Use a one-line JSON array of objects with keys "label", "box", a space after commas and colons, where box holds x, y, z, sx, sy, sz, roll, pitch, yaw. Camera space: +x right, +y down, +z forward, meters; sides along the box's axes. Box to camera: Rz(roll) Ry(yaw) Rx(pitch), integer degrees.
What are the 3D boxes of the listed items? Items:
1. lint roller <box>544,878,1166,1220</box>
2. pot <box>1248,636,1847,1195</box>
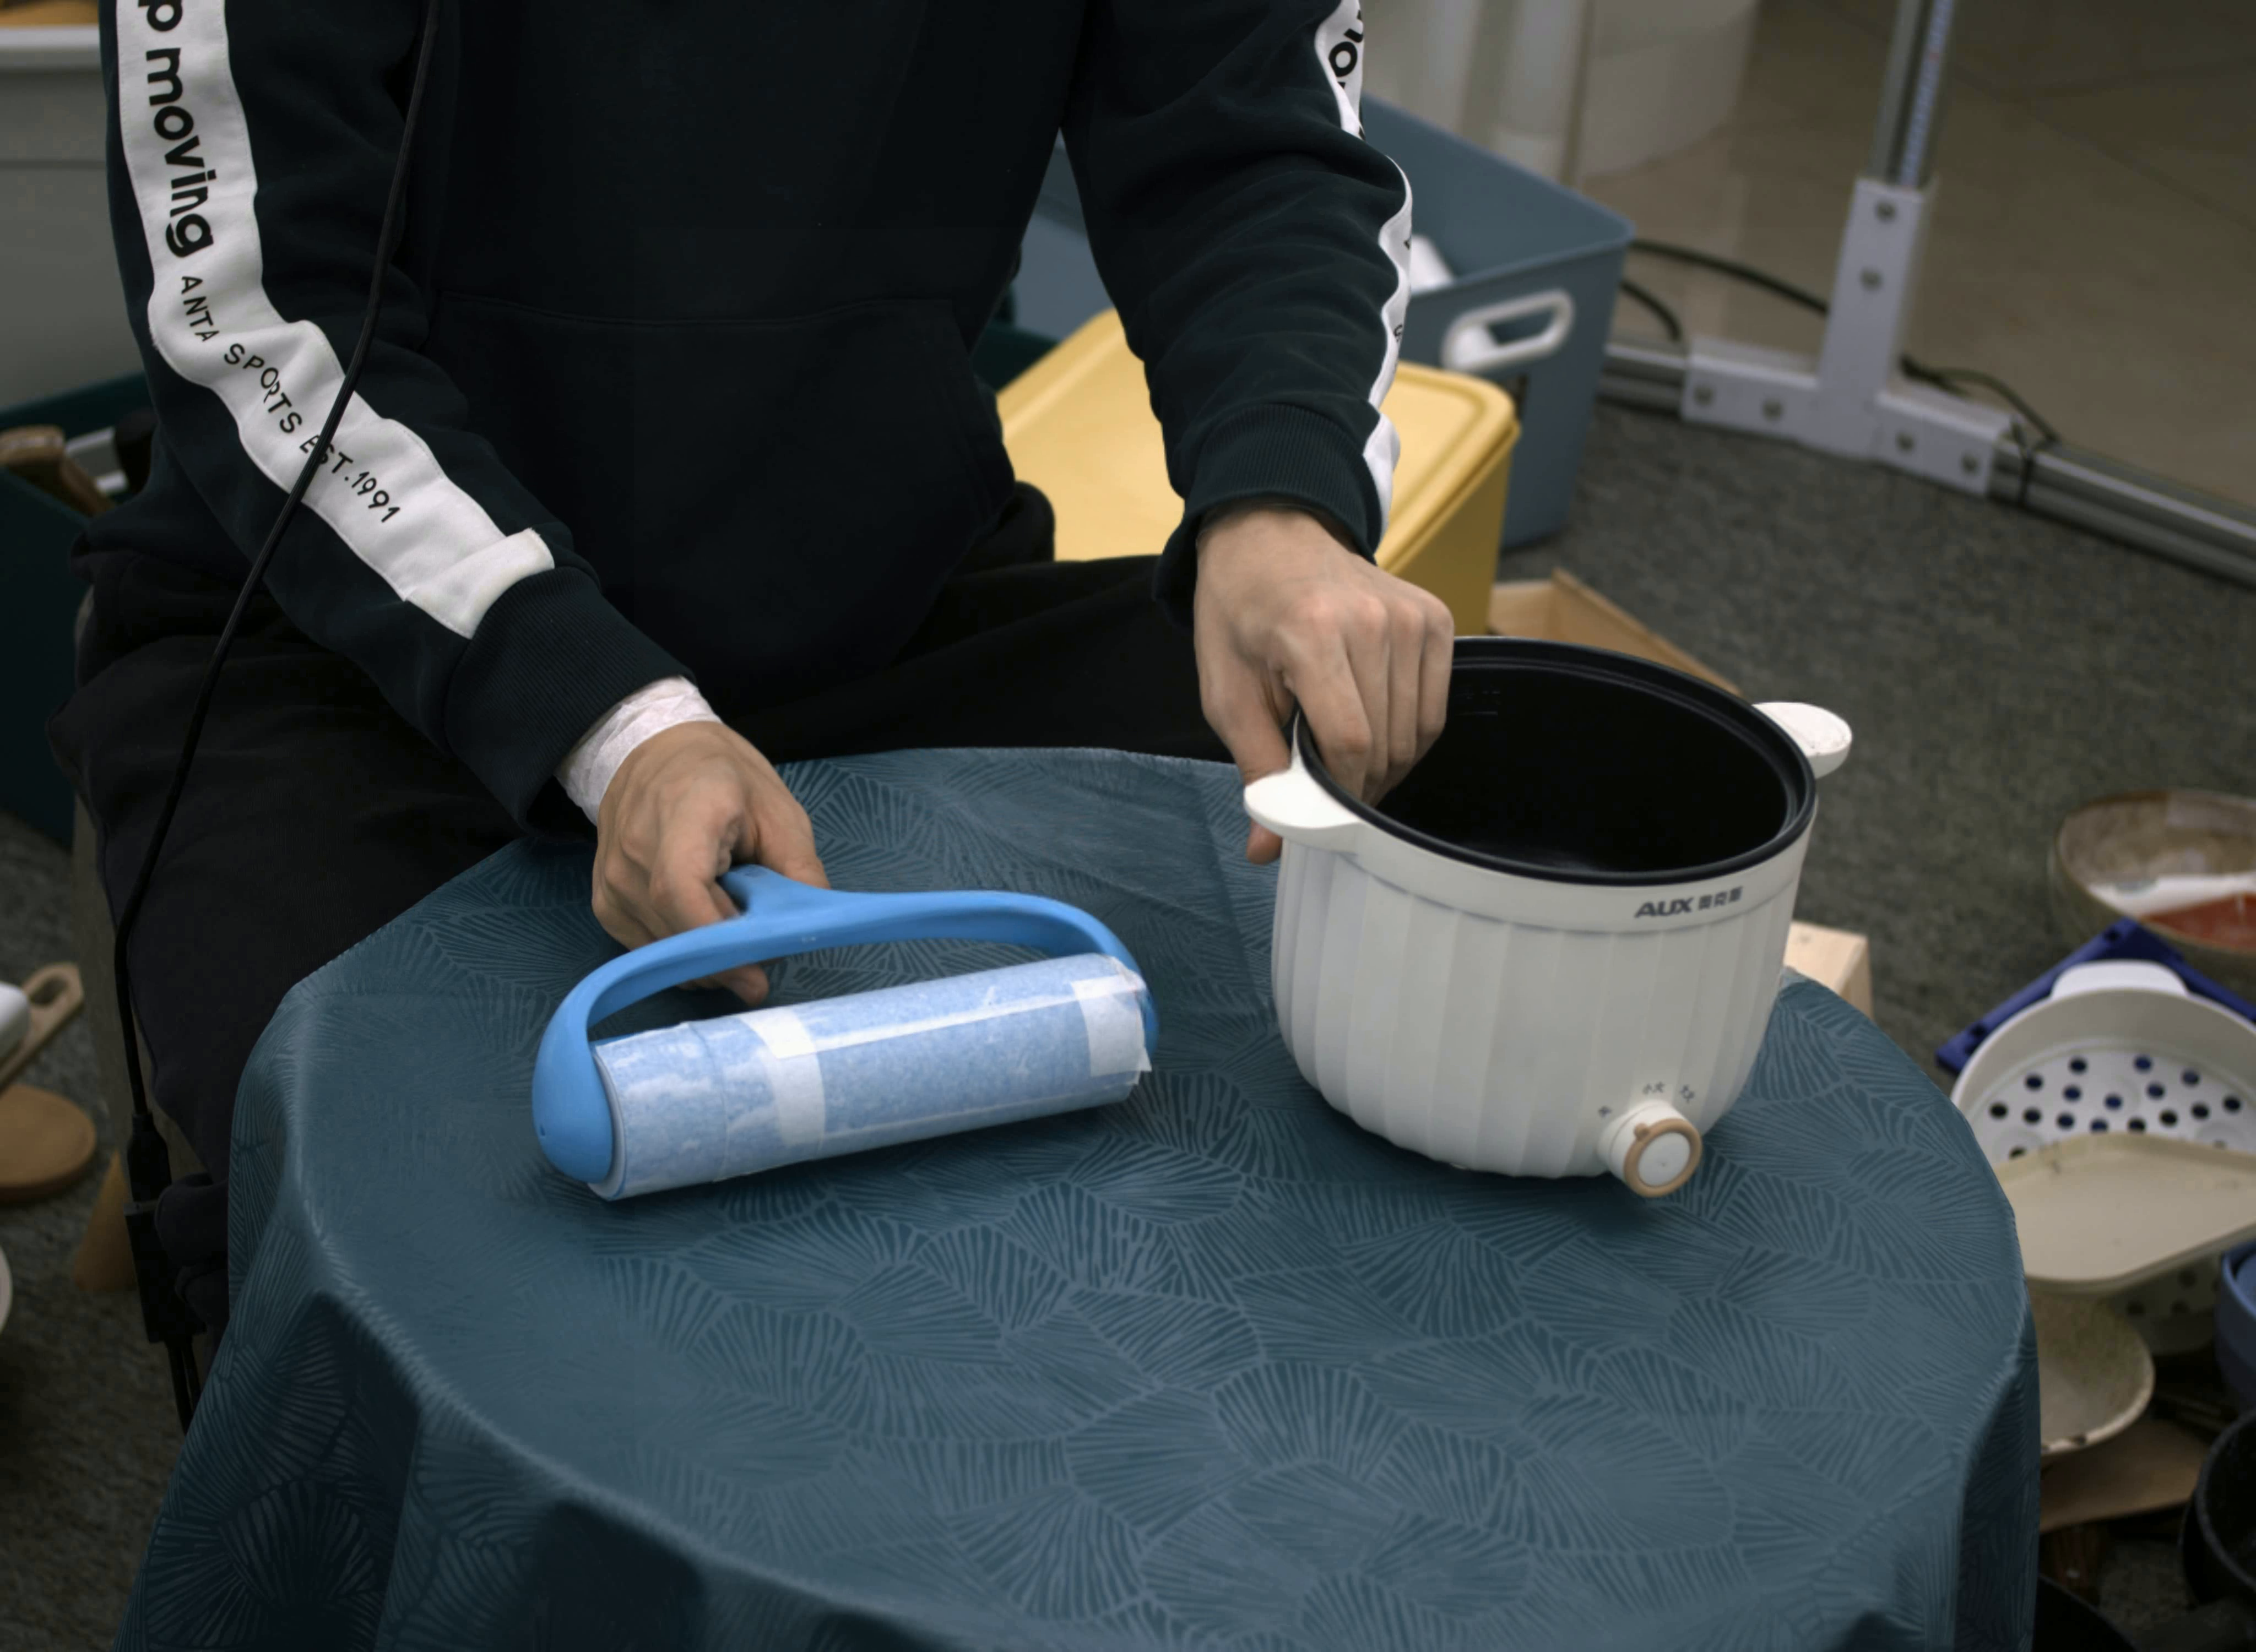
[{"label": "lint roller", "box": [-0.119, 0.055, 1.835, 0.227, 0.067, 0.182, -14, 38, -28]}, {"label": "pot", "box": [0.145, 0.035, 1.852, 0.239, 0.142, 0.192, -10, 28, -27]}]
